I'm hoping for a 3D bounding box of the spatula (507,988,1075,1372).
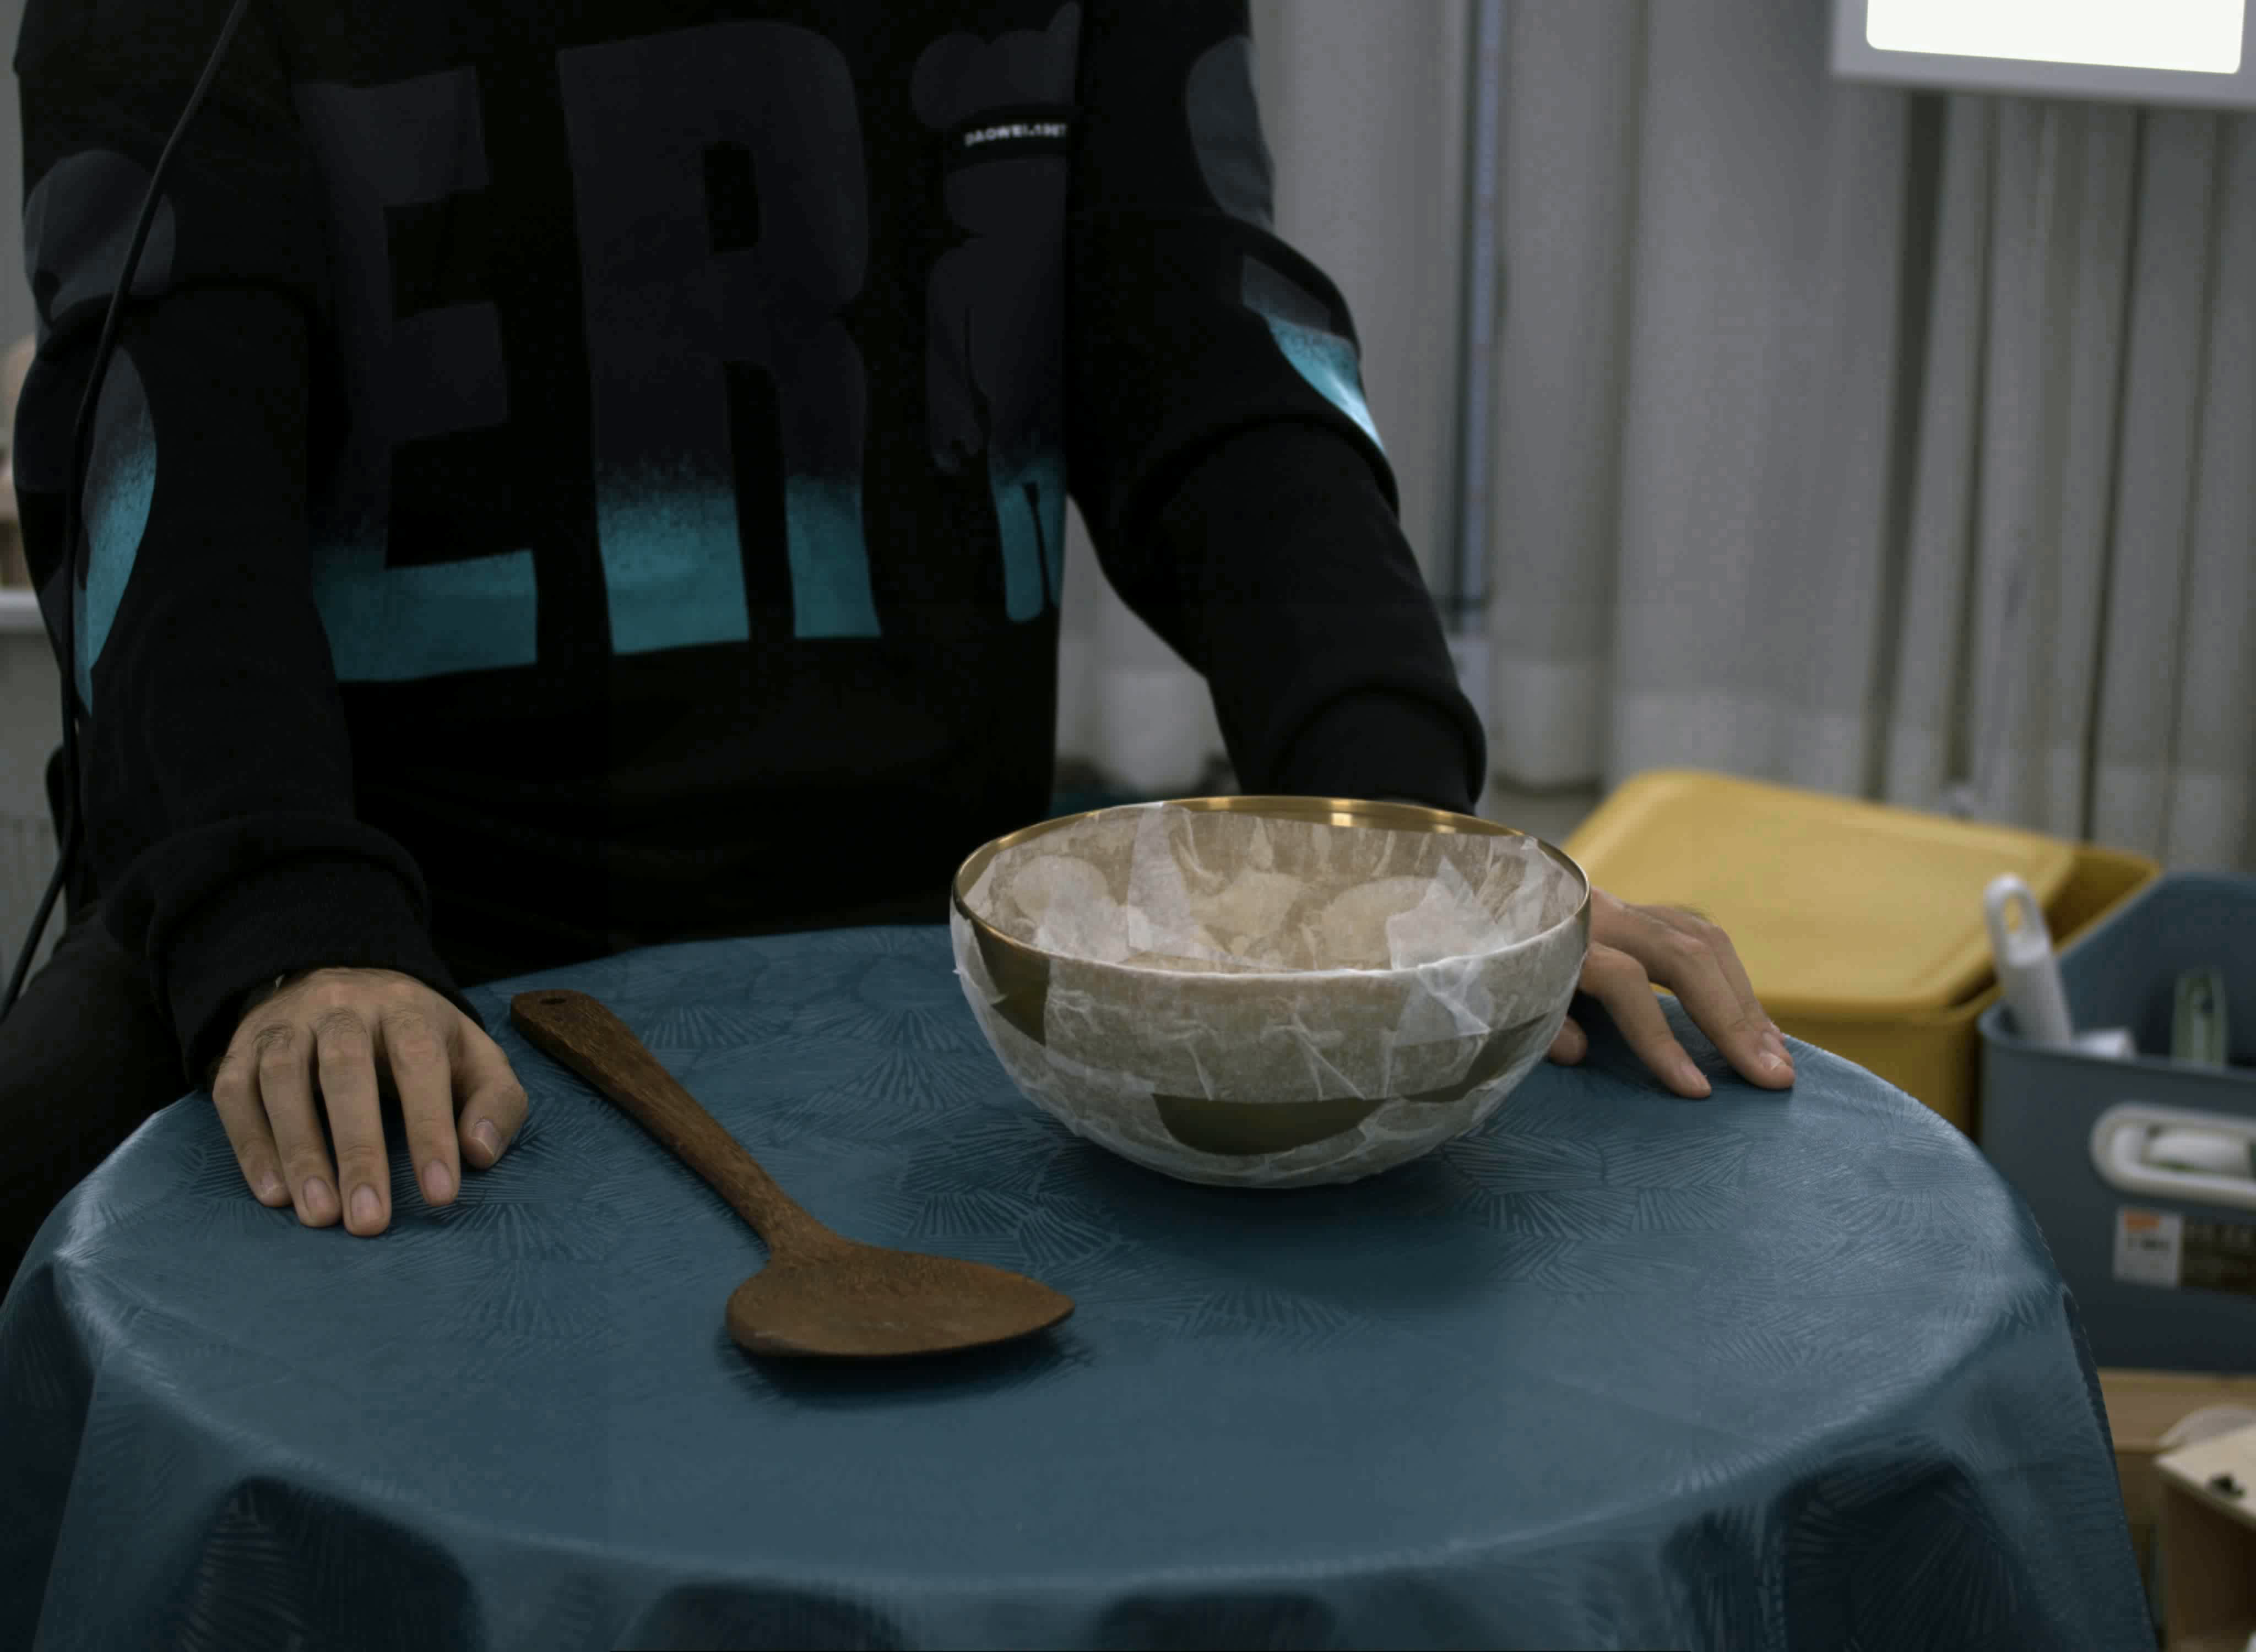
[{"bbox_3d":[-0.127,0.103,1.630,0.096,0.016,0.381,-6,17,-23],"label":"spatula"}]

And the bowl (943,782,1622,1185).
[{"bbox_3d":[0.047,0.057,1.649,0.214,0.095,0.213,-1,16,1],"label":"bowl"}]
